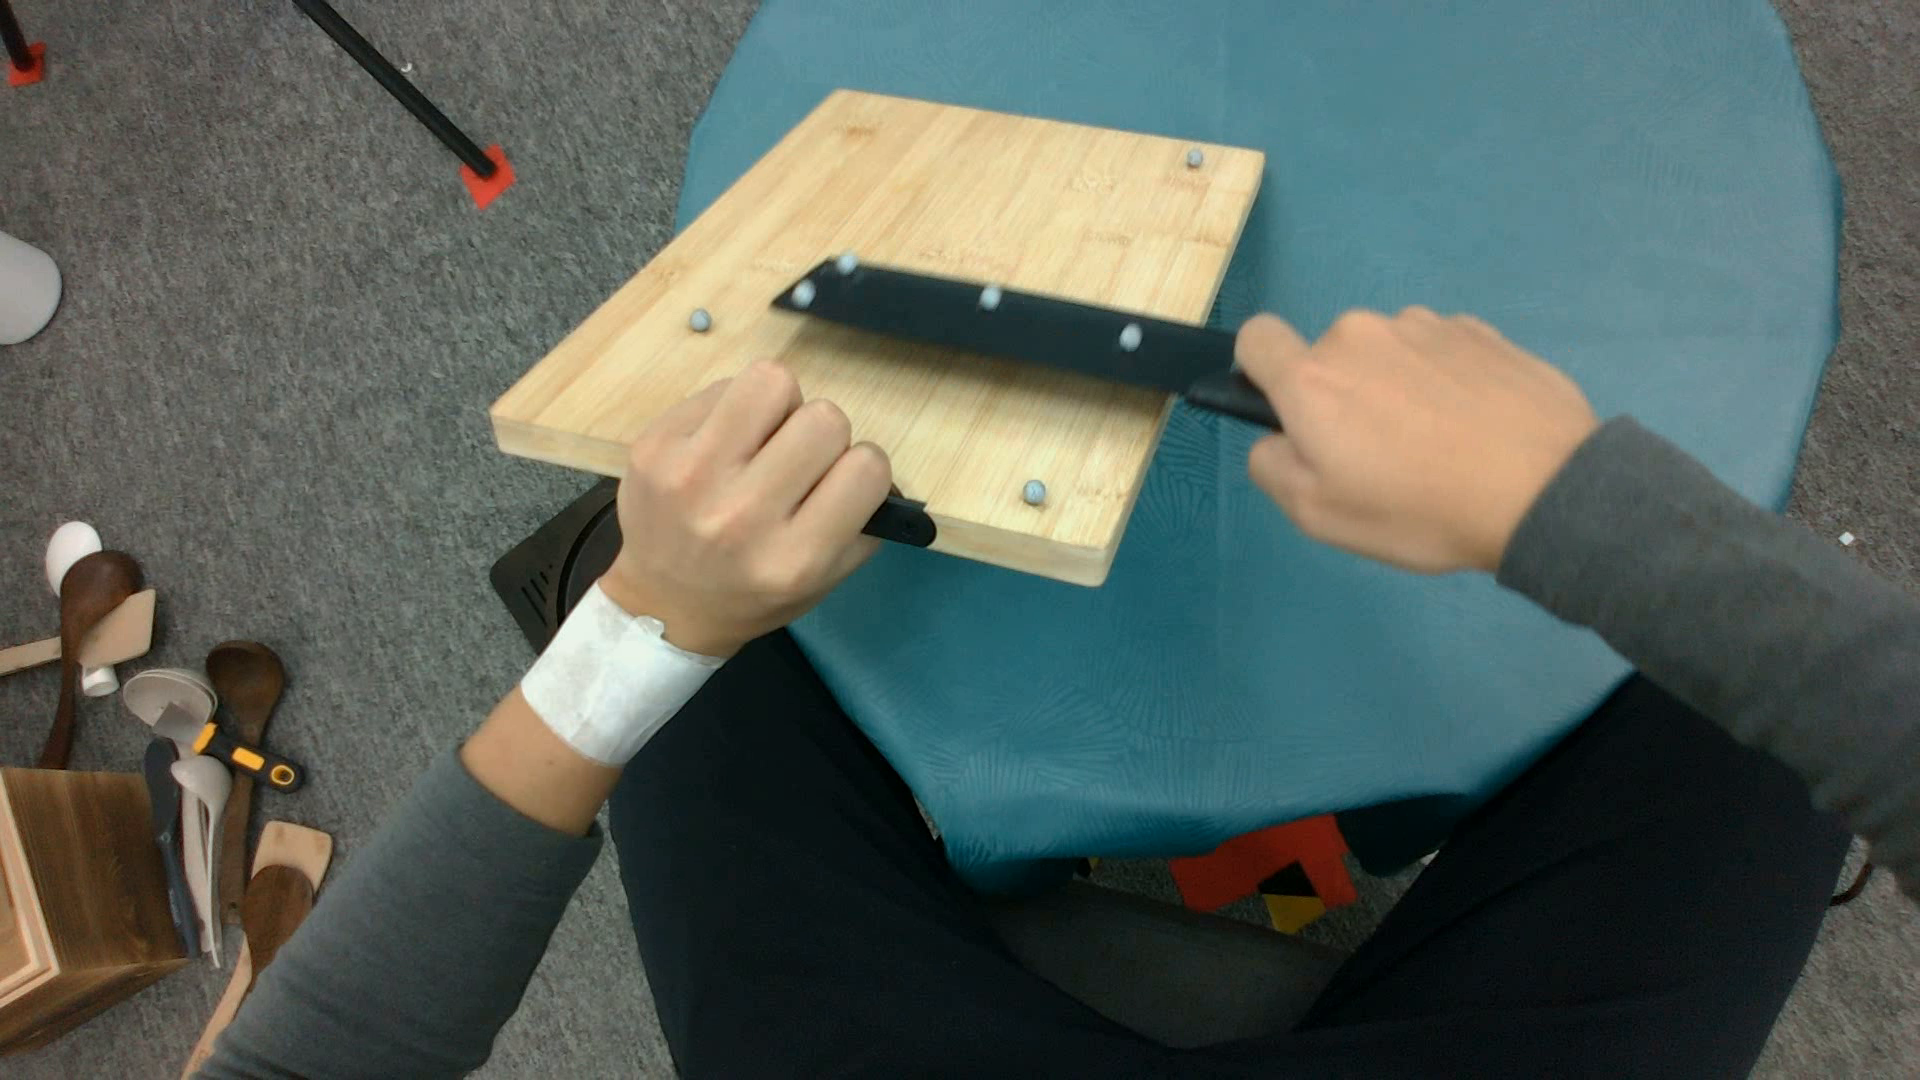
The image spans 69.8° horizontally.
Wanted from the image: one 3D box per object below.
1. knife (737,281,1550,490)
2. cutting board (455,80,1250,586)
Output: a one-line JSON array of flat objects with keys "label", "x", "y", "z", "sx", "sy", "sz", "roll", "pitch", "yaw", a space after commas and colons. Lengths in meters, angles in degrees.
[{"label": "knife", "x": 0.063, "y": -0.063, "z": 0.519, "sx": 0.302, "sy": 0.081, "sz": 0.021, "roll": 14, "pitch": 125, "yaw": 16}, {"label": "cutting board", "x": -0.019, "y": -0.118, "z": 0.616, "sx": 0.250, "sy": 0.023, "sz": 0.350, "roll": 12, "pitch": 41, "yaw": 12}]
